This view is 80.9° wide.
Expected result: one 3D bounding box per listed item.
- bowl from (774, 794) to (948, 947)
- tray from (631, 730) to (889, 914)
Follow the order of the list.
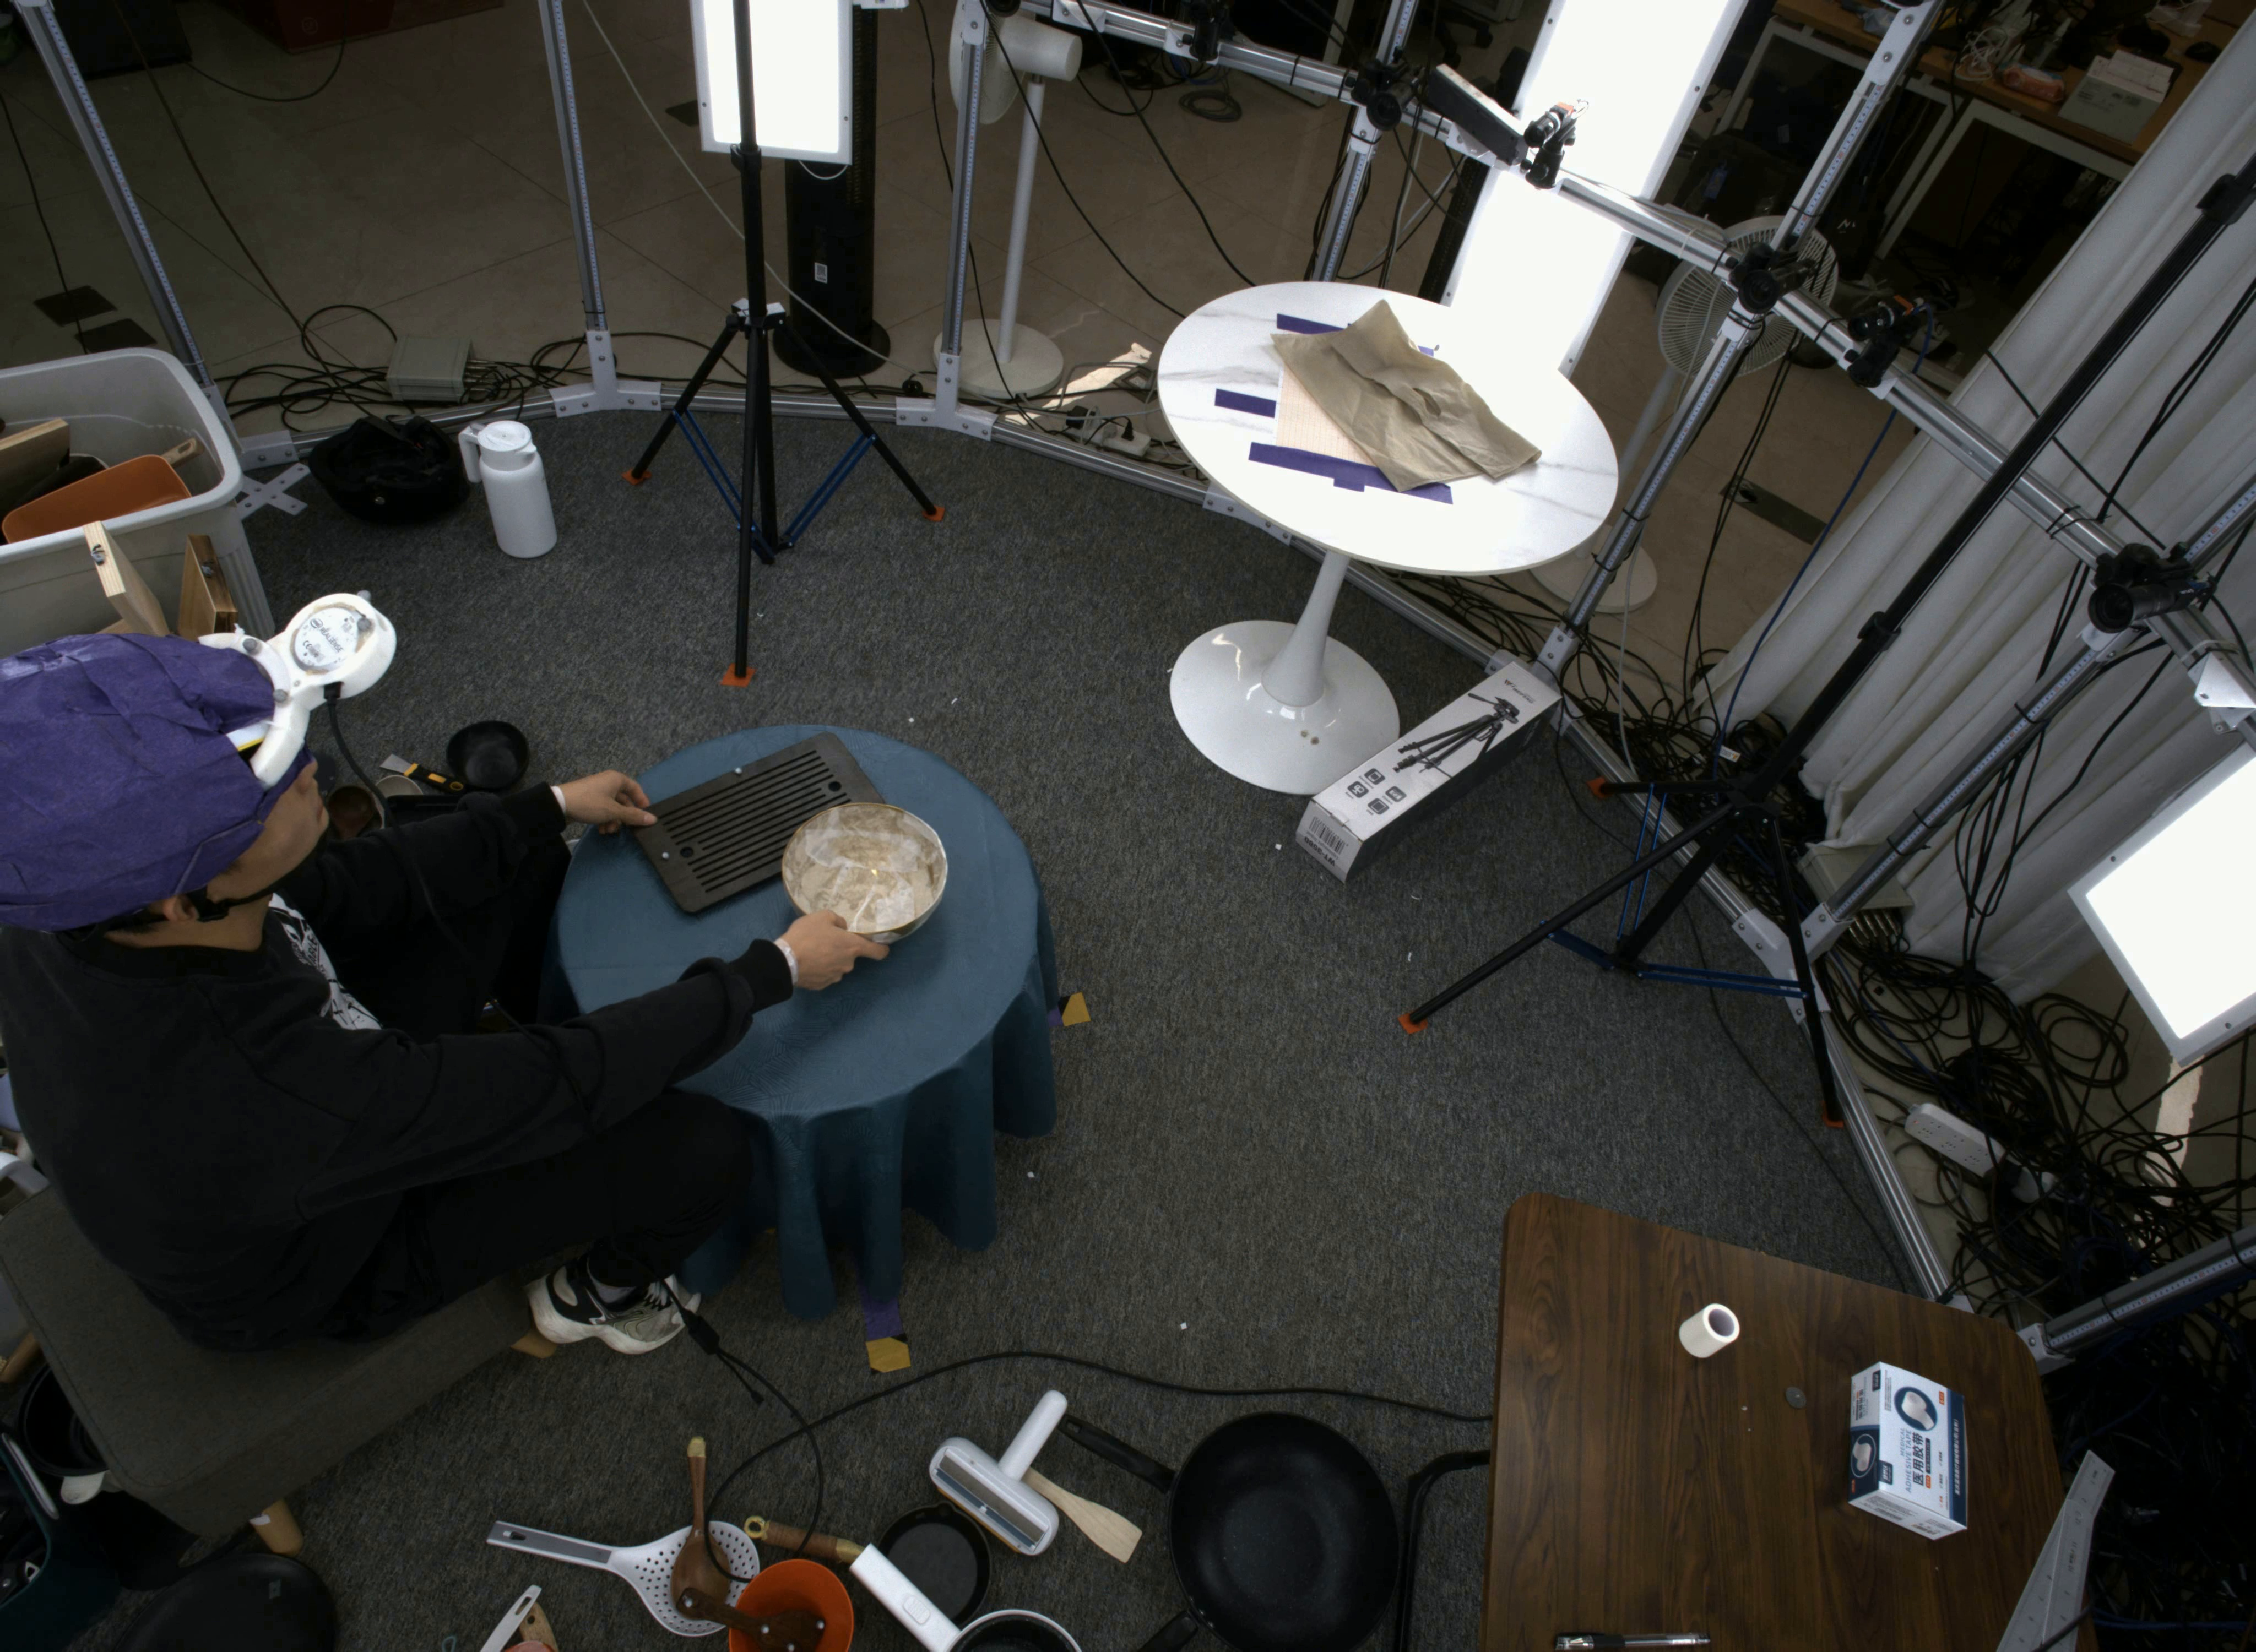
[{"bbox_3d":[-0.335,0.071,1.639,0.214,0.096,0.211,8,53,-9],"label":"bowl"},{"bbox_3d":[-0.482,-0.010,1.704,0.307,0.019,0.167,-28,69,-30],"label":"tray"}]
